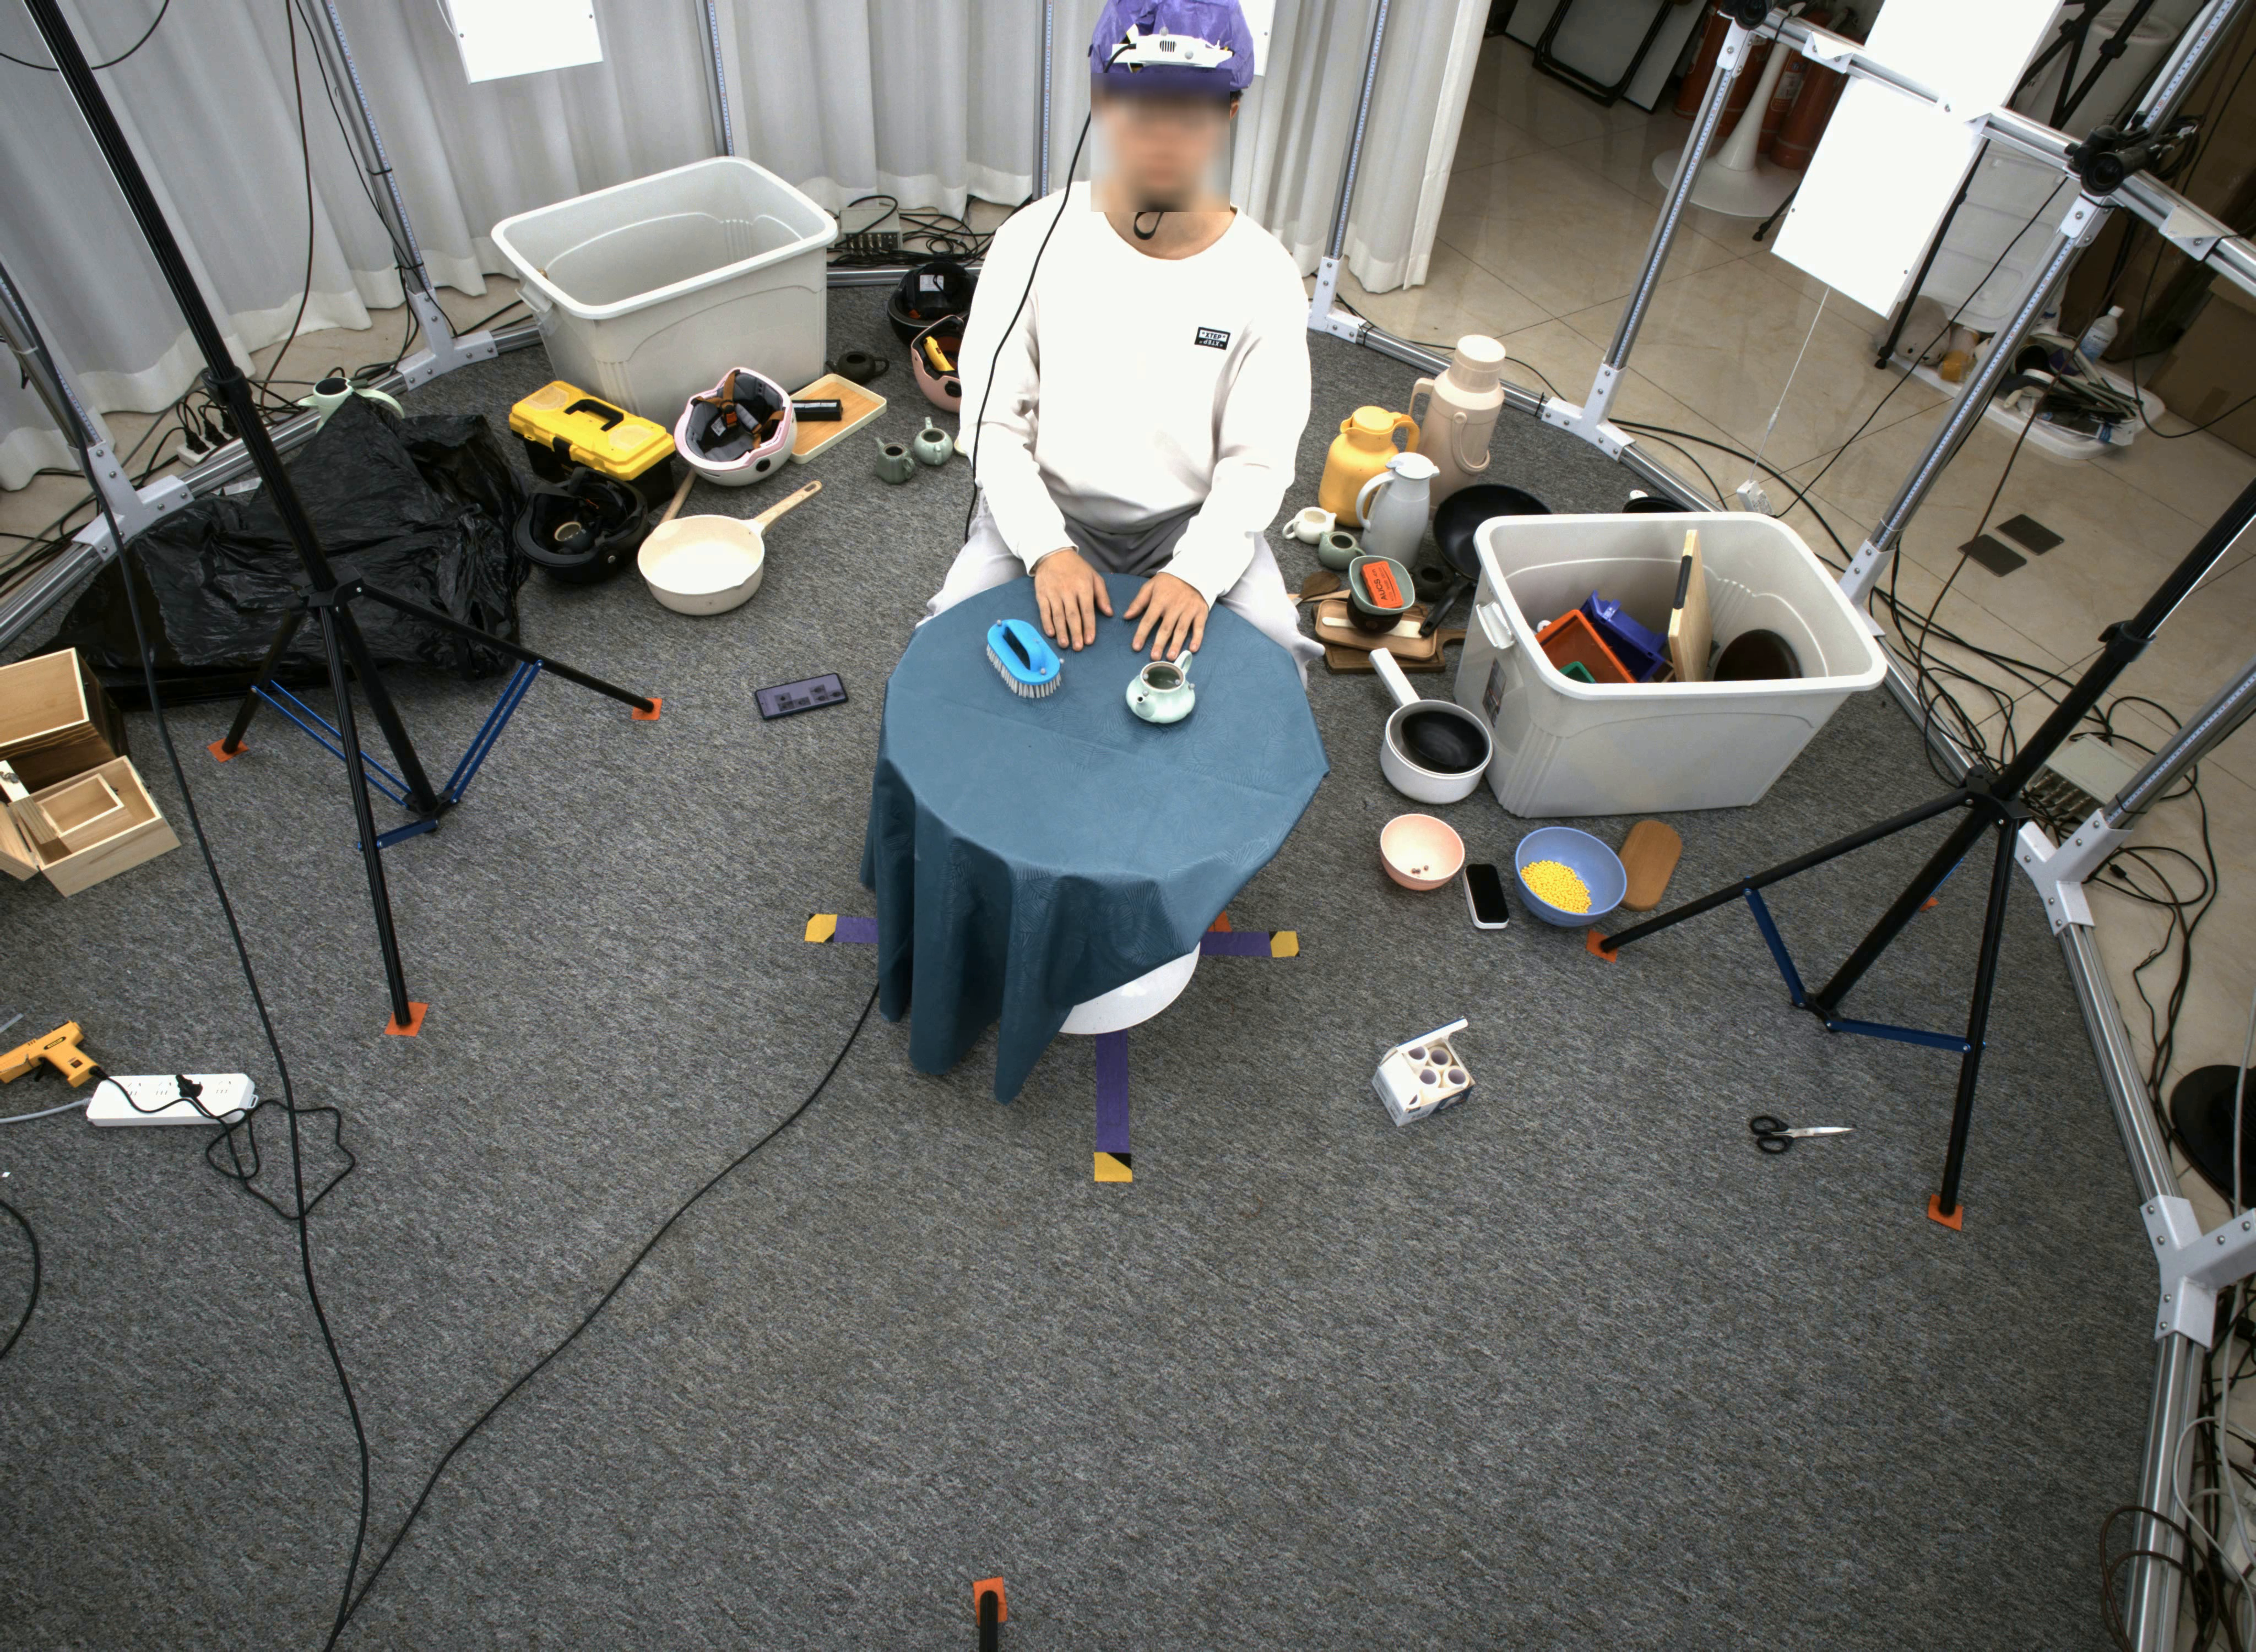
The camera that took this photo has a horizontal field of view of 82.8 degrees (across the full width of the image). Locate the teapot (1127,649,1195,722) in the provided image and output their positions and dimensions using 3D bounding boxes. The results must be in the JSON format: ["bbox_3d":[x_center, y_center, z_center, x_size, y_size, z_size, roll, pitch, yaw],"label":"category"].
[{"bbox_3d":[0.049,-0.194,1.798,0.097,0.060,0.139,25,52,20],"label":"teapot"}]

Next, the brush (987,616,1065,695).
[{"bbox_3d":[-0.148,-0.254,1.832,0.084,0.062,0.145,-23,54,-17],"label":"brush"}]
